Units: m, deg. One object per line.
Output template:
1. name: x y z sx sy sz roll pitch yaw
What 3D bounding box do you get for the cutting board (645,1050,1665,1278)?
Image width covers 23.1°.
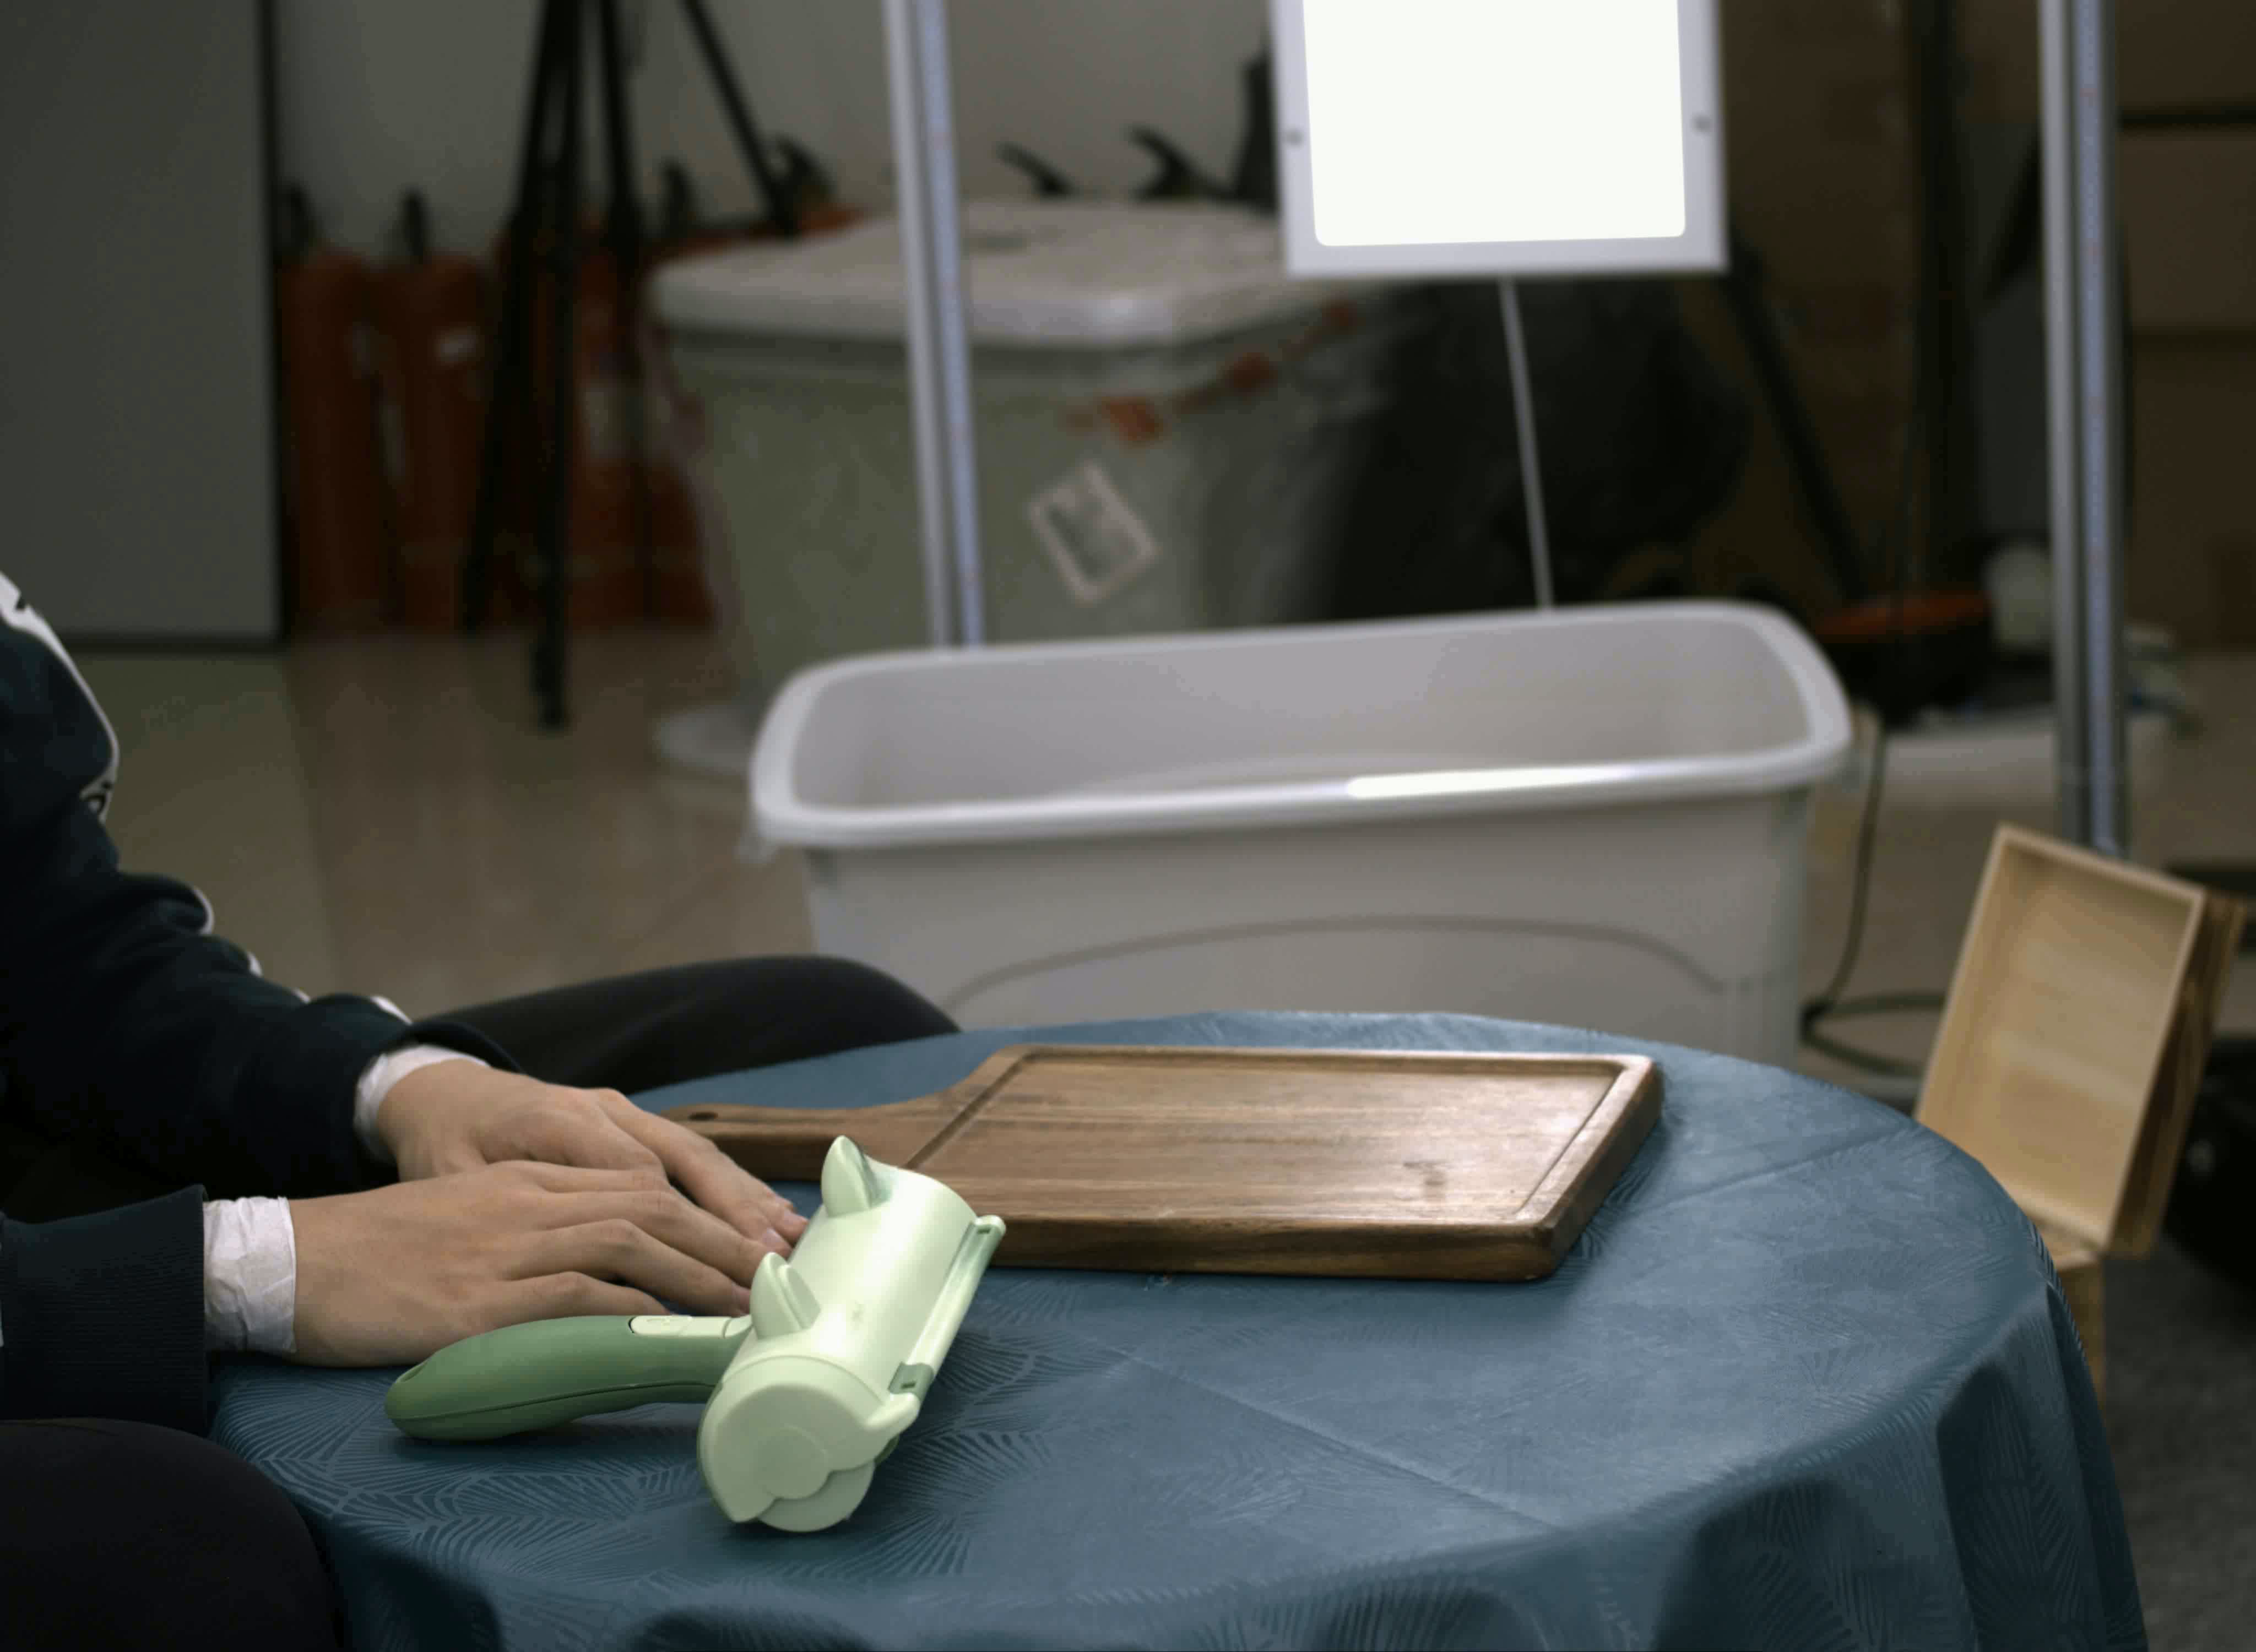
1. cutting board: -0.001 0.114 1.906 0.356 0.023 0.198 -1 14 19

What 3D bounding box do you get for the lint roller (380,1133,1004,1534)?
1. lint roller: -0.141 0.149 1.691 0.184 0.082 0.197 2 15 9
